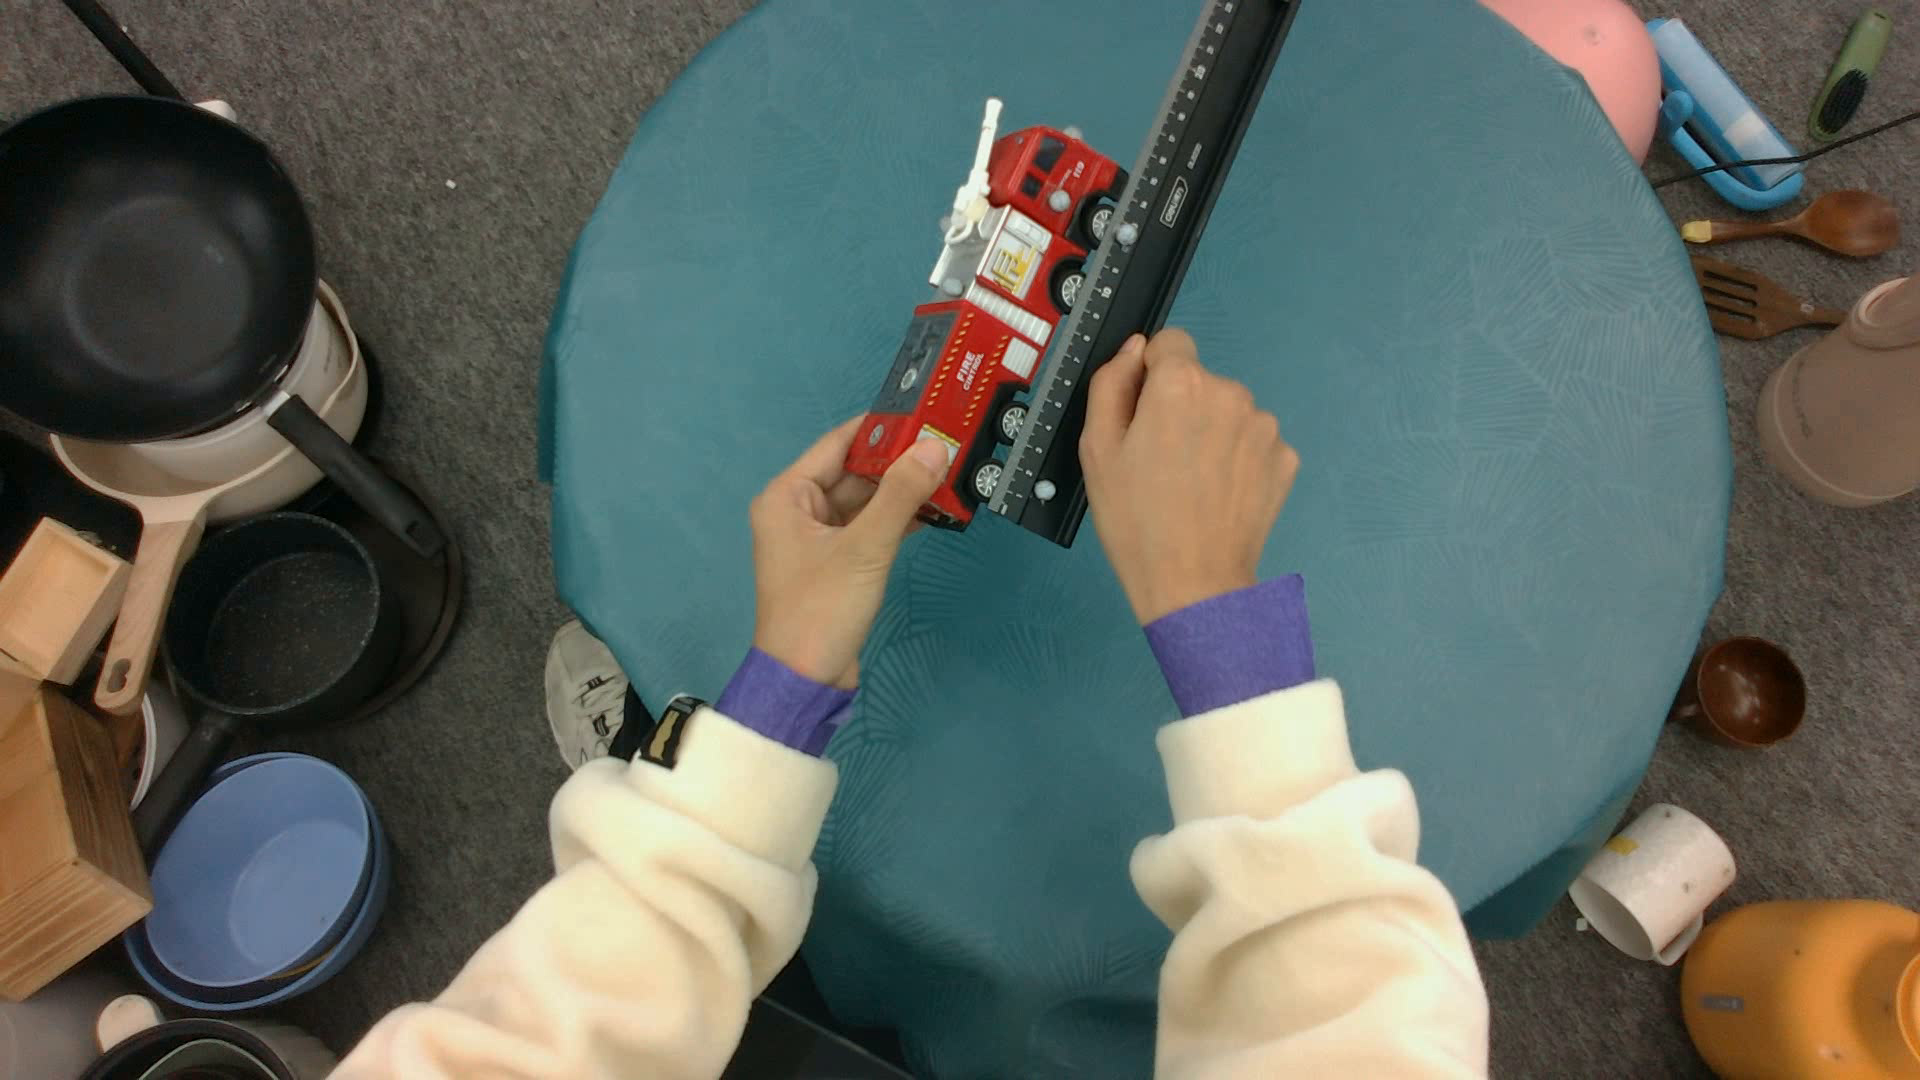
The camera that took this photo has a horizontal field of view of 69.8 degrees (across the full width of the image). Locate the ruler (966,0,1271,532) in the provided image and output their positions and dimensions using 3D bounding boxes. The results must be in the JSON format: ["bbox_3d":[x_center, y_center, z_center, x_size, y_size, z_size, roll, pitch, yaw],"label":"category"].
[{"bbox_3d":[0.081,-0.152,0.562,0.039,0.017,0.313,26,82,-16],"label":"ruler"}]

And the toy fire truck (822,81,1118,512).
[{"bbox_3d":[0.004,-0.096,0.561,0.070,0.054,0.168,26,83,-29],"label":"toy fire truck"}]
